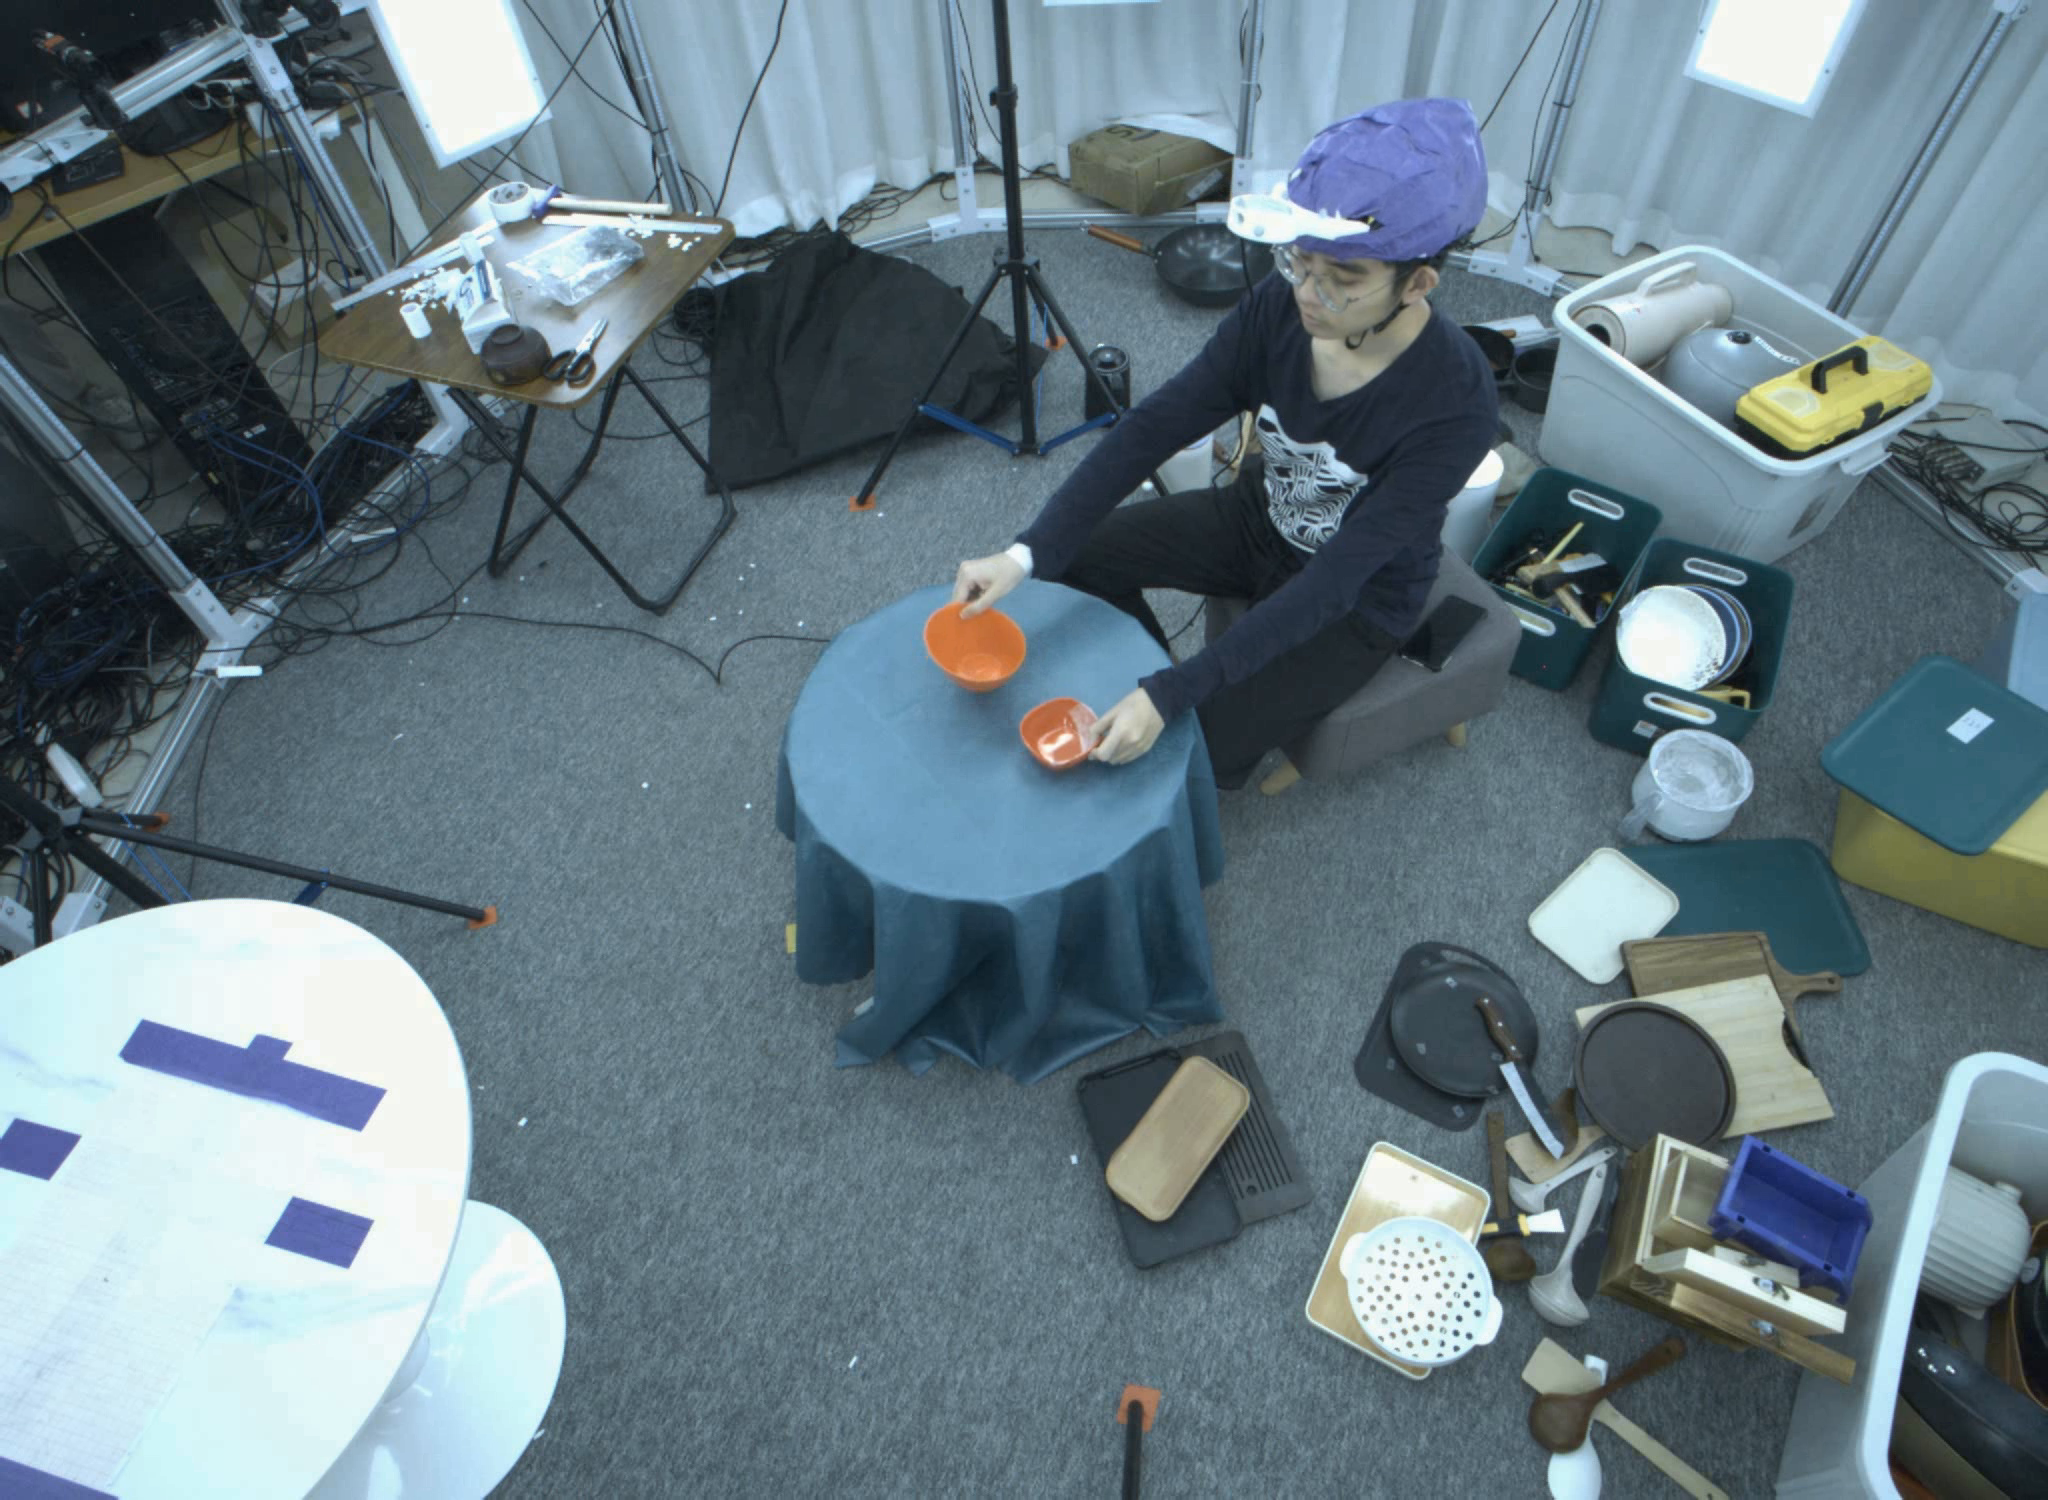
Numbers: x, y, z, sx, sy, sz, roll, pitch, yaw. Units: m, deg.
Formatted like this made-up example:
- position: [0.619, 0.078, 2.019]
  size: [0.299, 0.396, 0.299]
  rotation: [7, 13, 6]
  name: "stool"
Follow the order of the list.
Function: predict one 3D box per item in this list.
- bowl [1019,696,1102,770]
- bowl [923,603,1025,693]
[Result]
- position: [0.054, -0.017, 1.773]
  size: [0.119, 0.052, 0.117]
  rotation: [-1, 54, 3]
  name: "bowl"
- position: [-0.076, -0.136, 1.805]
  size: [0.149, 0.105, 0.146]
  rotation: [4, 58, -5]
  name: "bowl"
